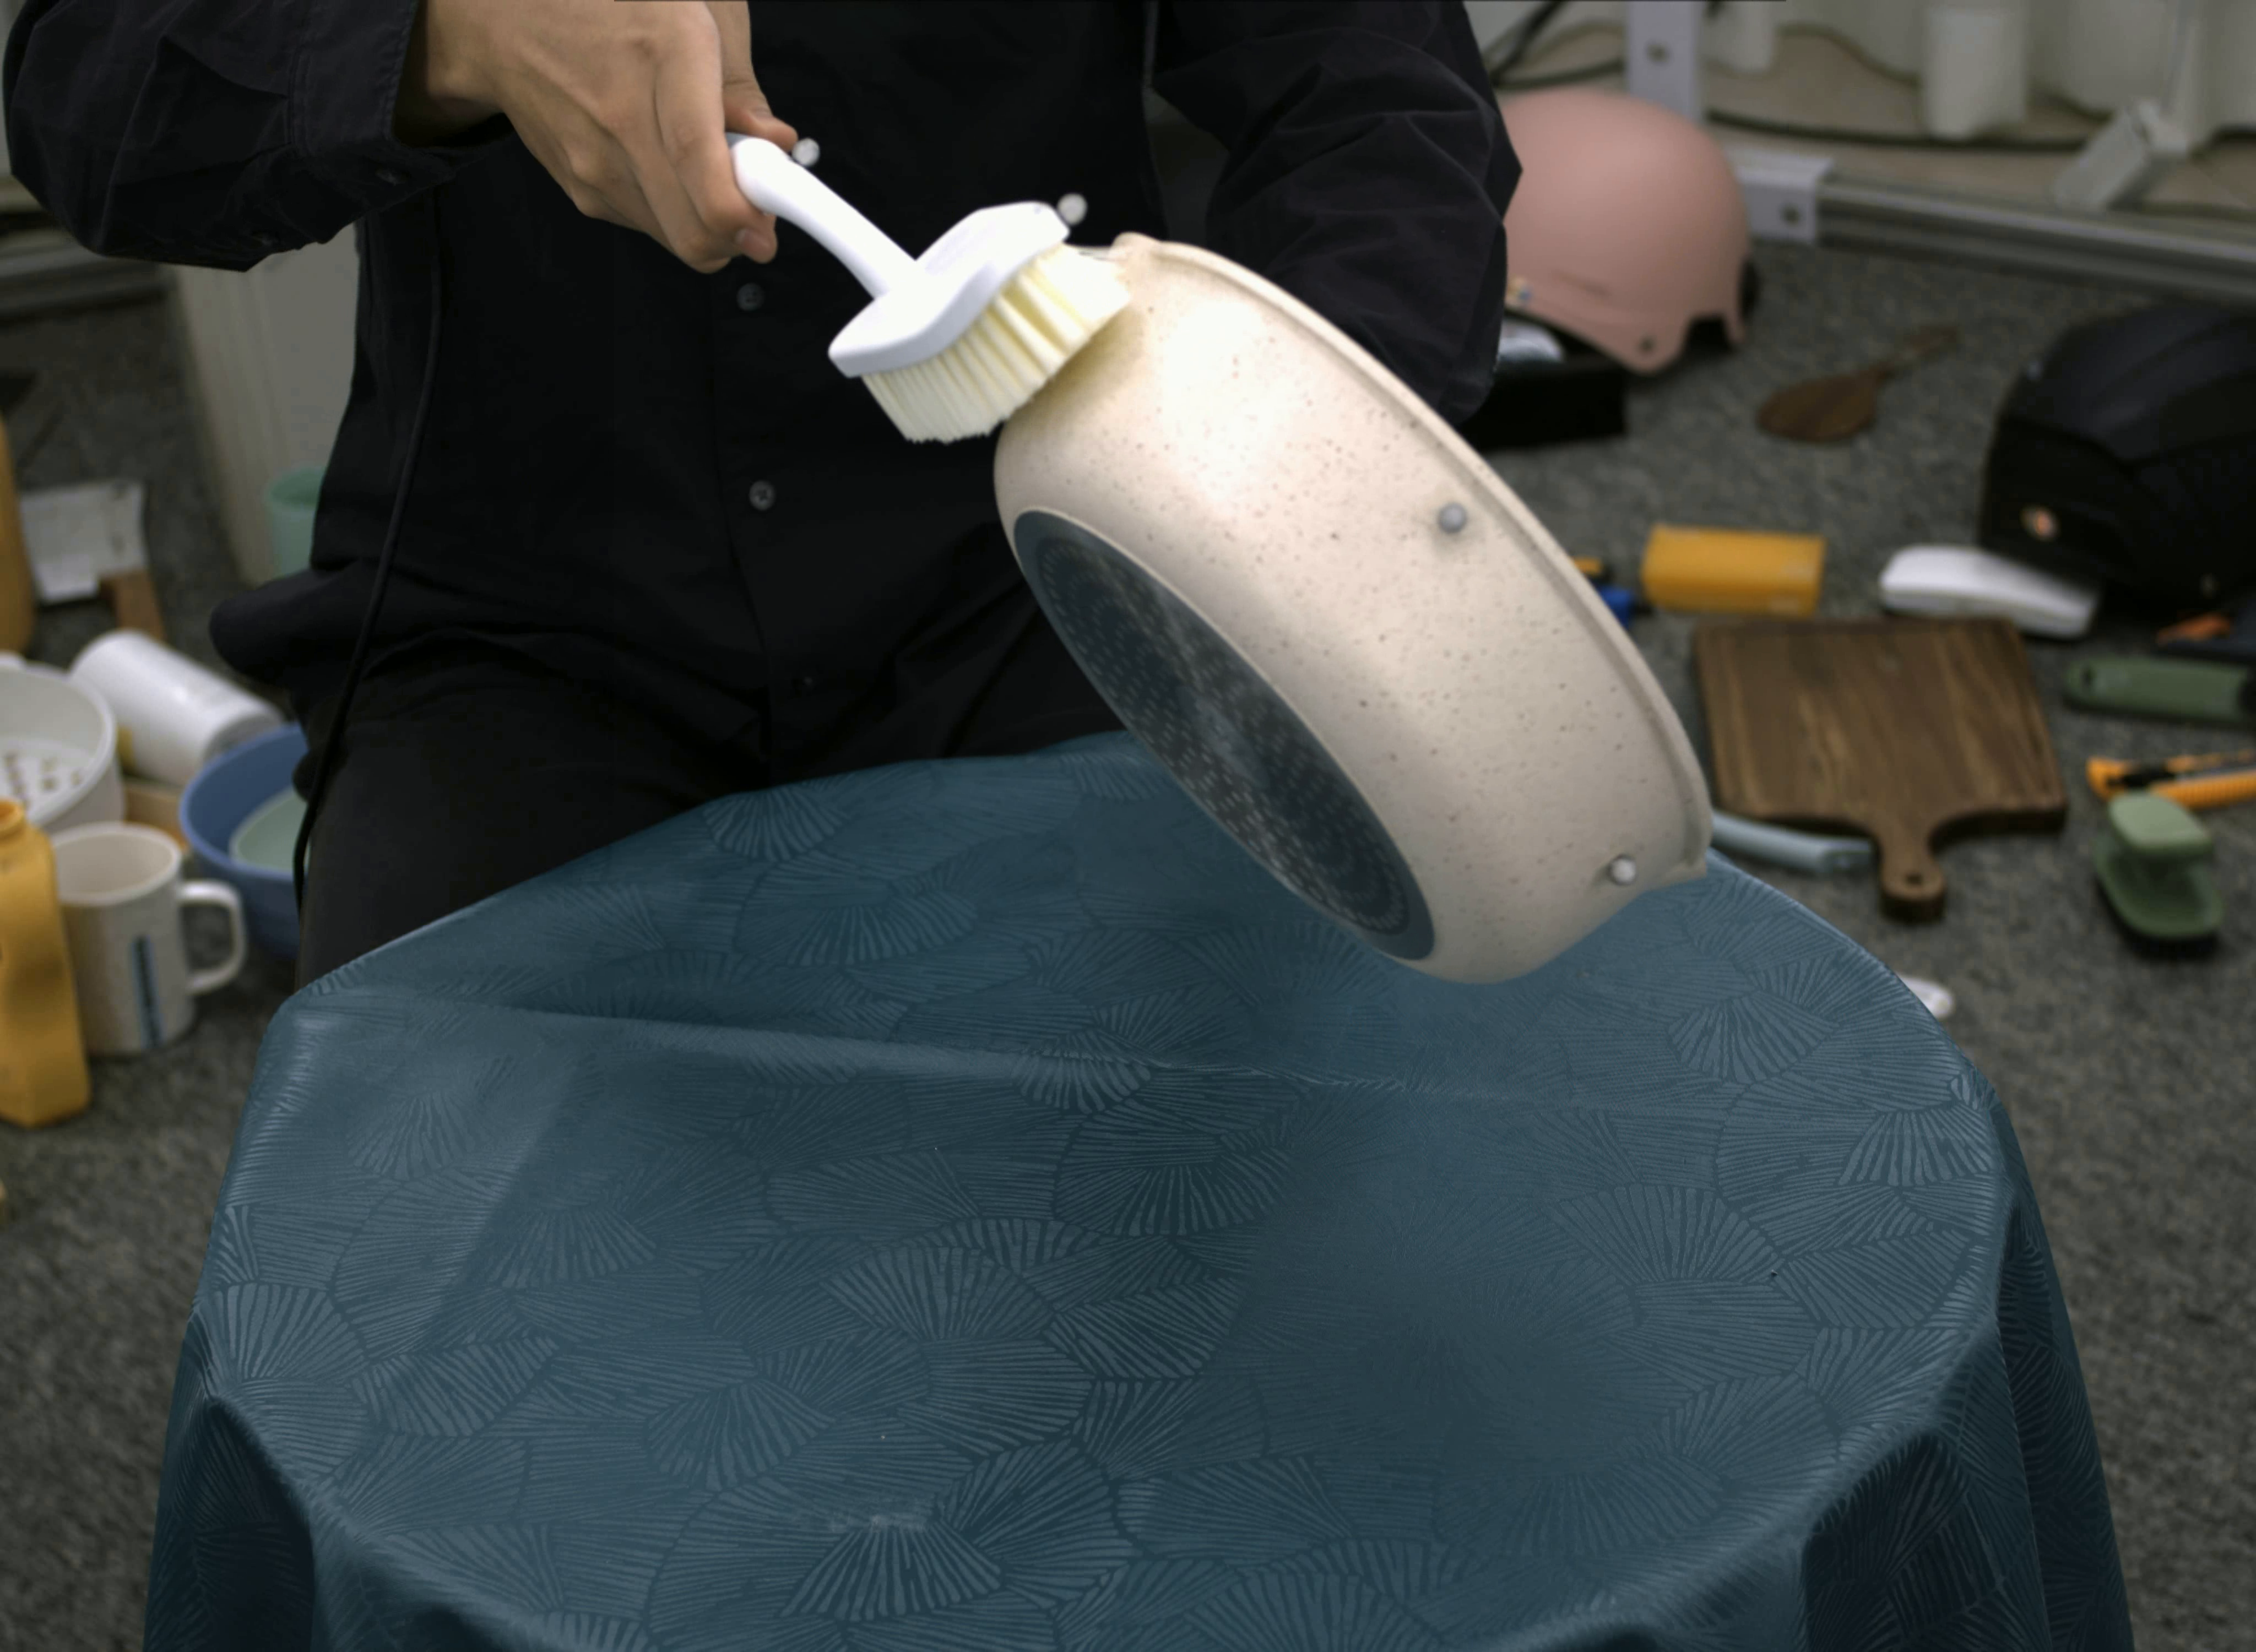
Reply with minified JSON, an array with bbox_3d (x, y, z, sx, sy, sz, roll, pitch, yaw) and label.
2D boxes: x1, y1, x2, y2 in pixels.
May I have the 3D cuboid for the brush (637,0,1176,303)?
[{"bbox_3d":[-0.065,-0.214,1.783,0.083,0.084,0.325,-7,14,-25],"label":"brush"}]

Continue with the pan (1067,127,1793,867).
[{"bbox_3d":[0.071,-0.083,1.801,0.103,0.263,0.432,-45,2,-12],"label":"pan"}]
